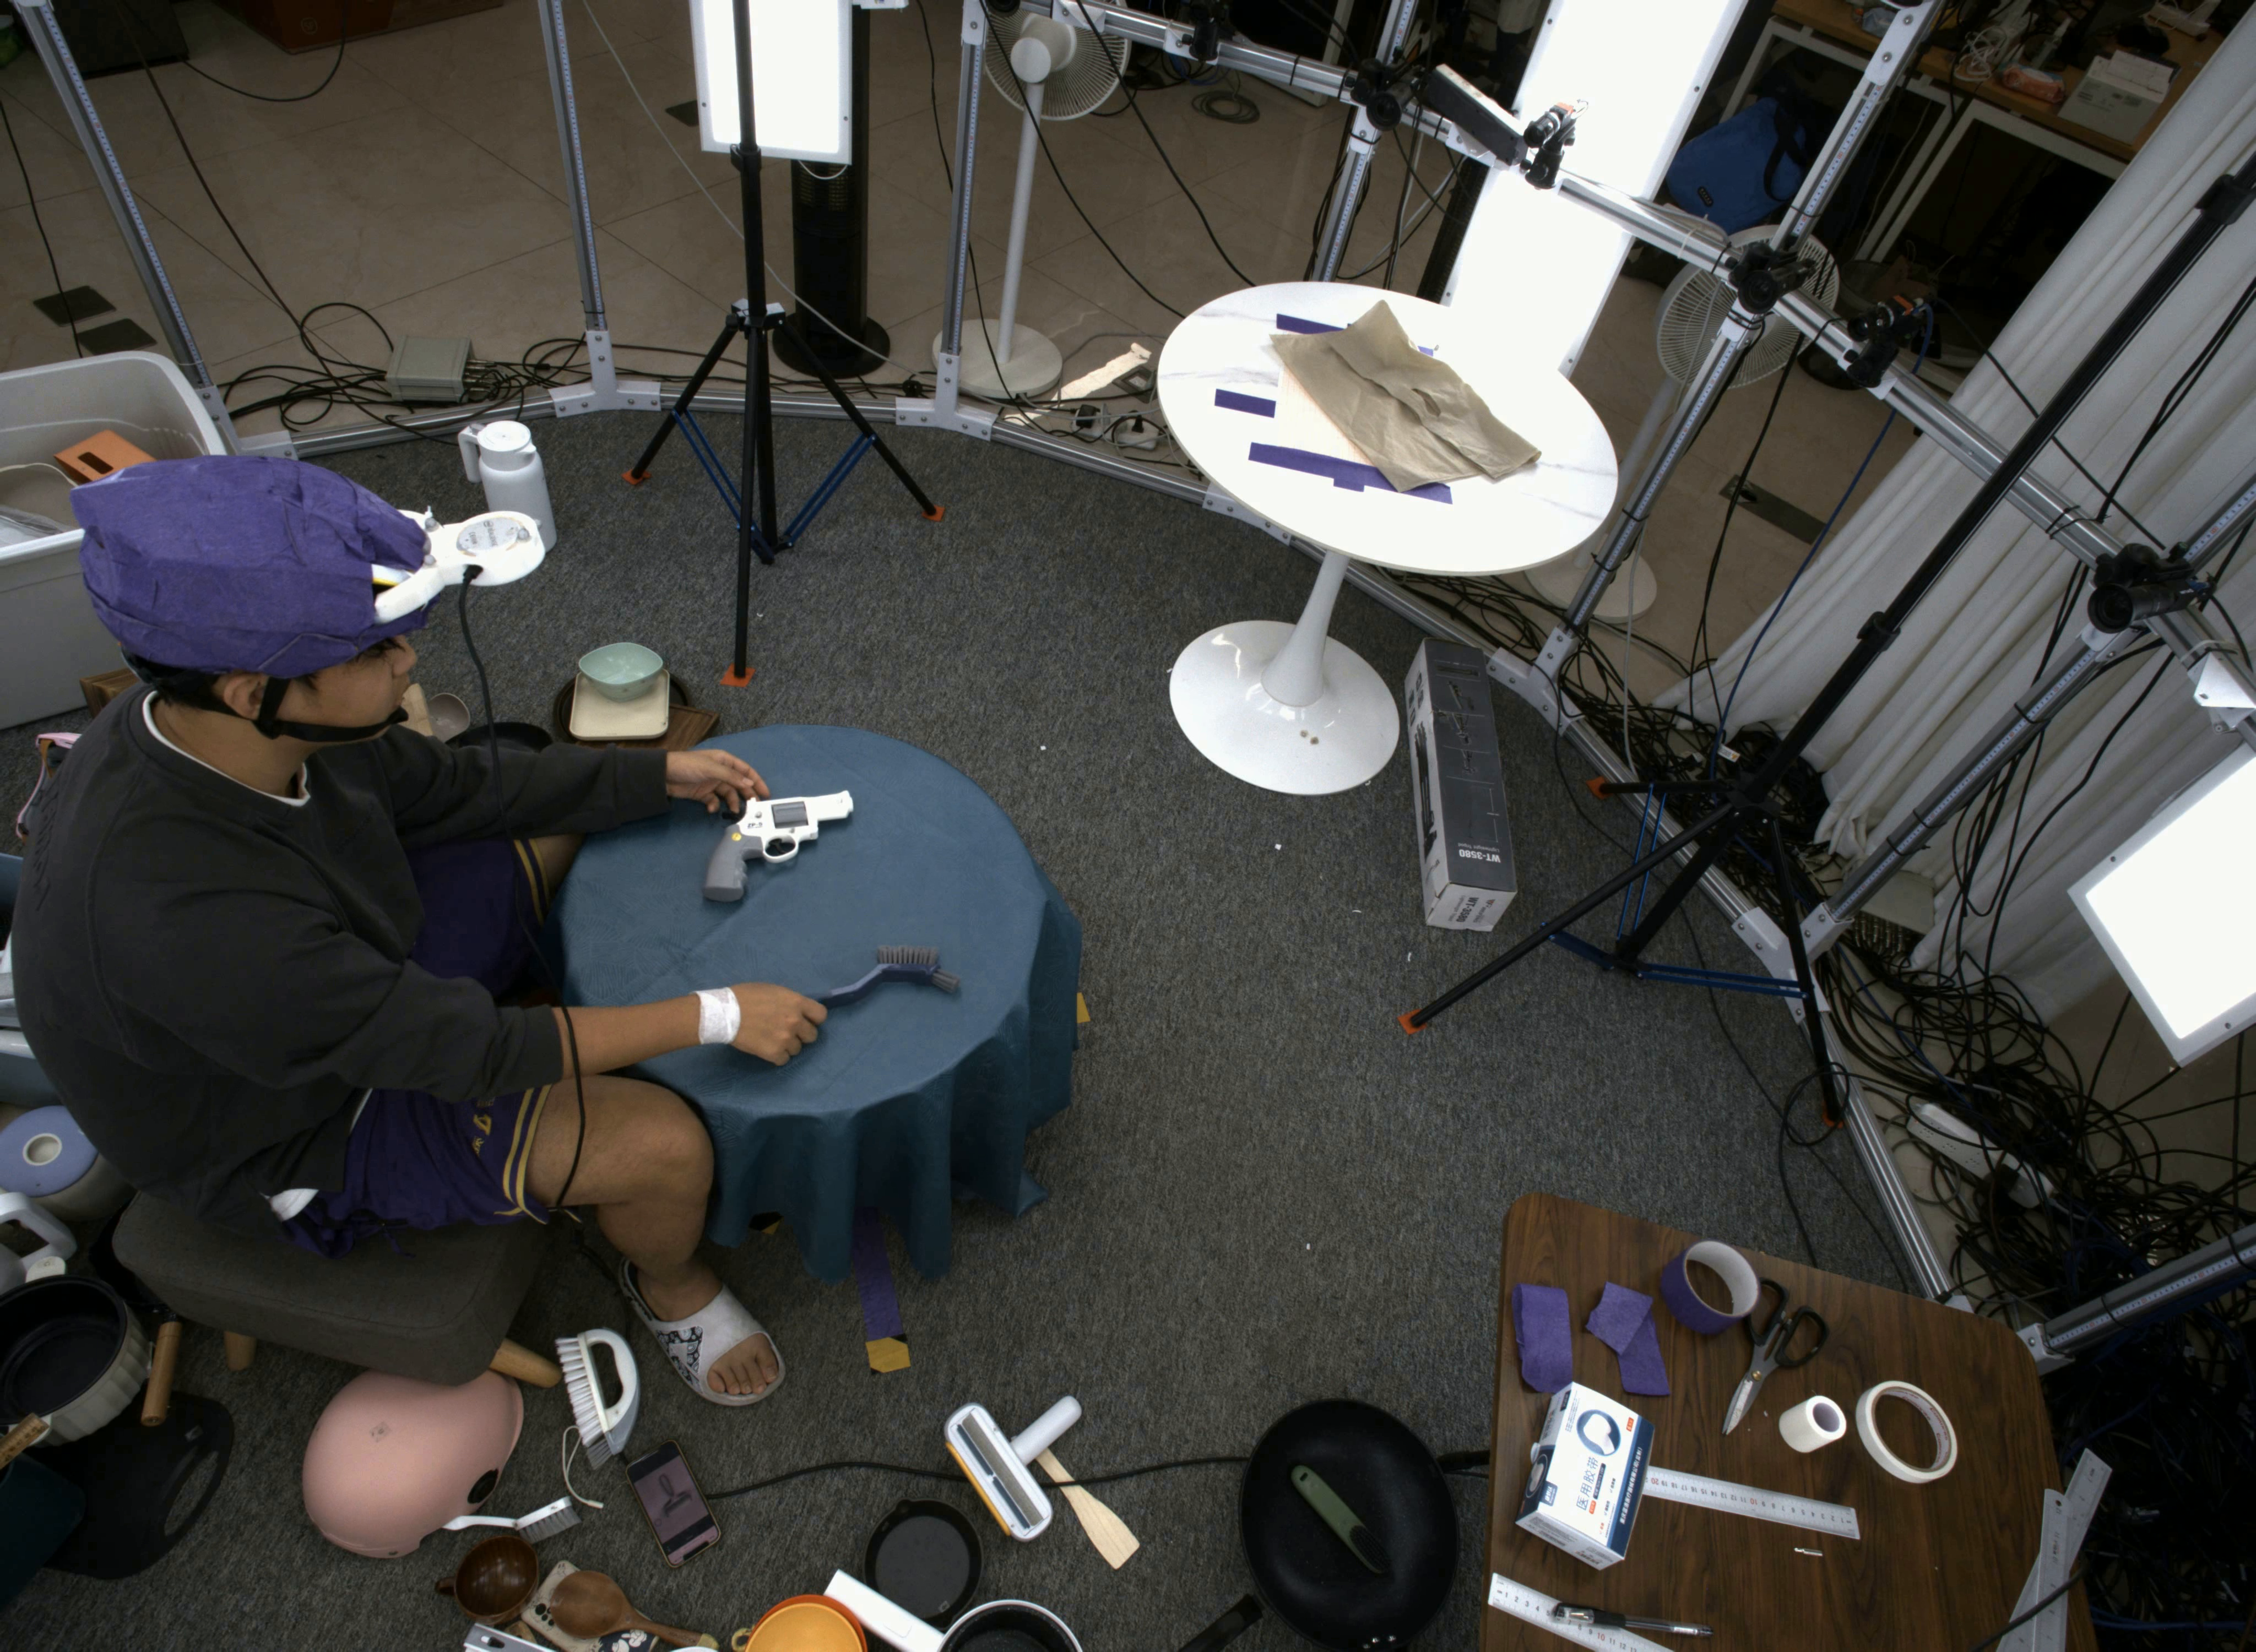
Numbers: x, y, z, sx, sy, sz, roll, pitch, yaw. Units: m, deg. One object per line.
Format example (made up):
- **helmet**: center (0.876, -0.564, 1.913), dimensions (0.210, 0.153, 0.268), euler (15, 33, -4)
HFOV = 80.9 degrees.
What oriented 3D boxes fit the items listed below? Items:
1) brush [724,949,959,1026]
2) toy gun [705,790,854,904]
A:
- **brush**: center (-0.346, 0.208, 1.574), dimensions (0.274, 0.034, 0.093), euler (-19, 61, -27)
- **toy gun**: center (-0.452, 0.020, 1.683), dimensions (0.210, 0.039, 0.138), euler (-9, 58, -21)
